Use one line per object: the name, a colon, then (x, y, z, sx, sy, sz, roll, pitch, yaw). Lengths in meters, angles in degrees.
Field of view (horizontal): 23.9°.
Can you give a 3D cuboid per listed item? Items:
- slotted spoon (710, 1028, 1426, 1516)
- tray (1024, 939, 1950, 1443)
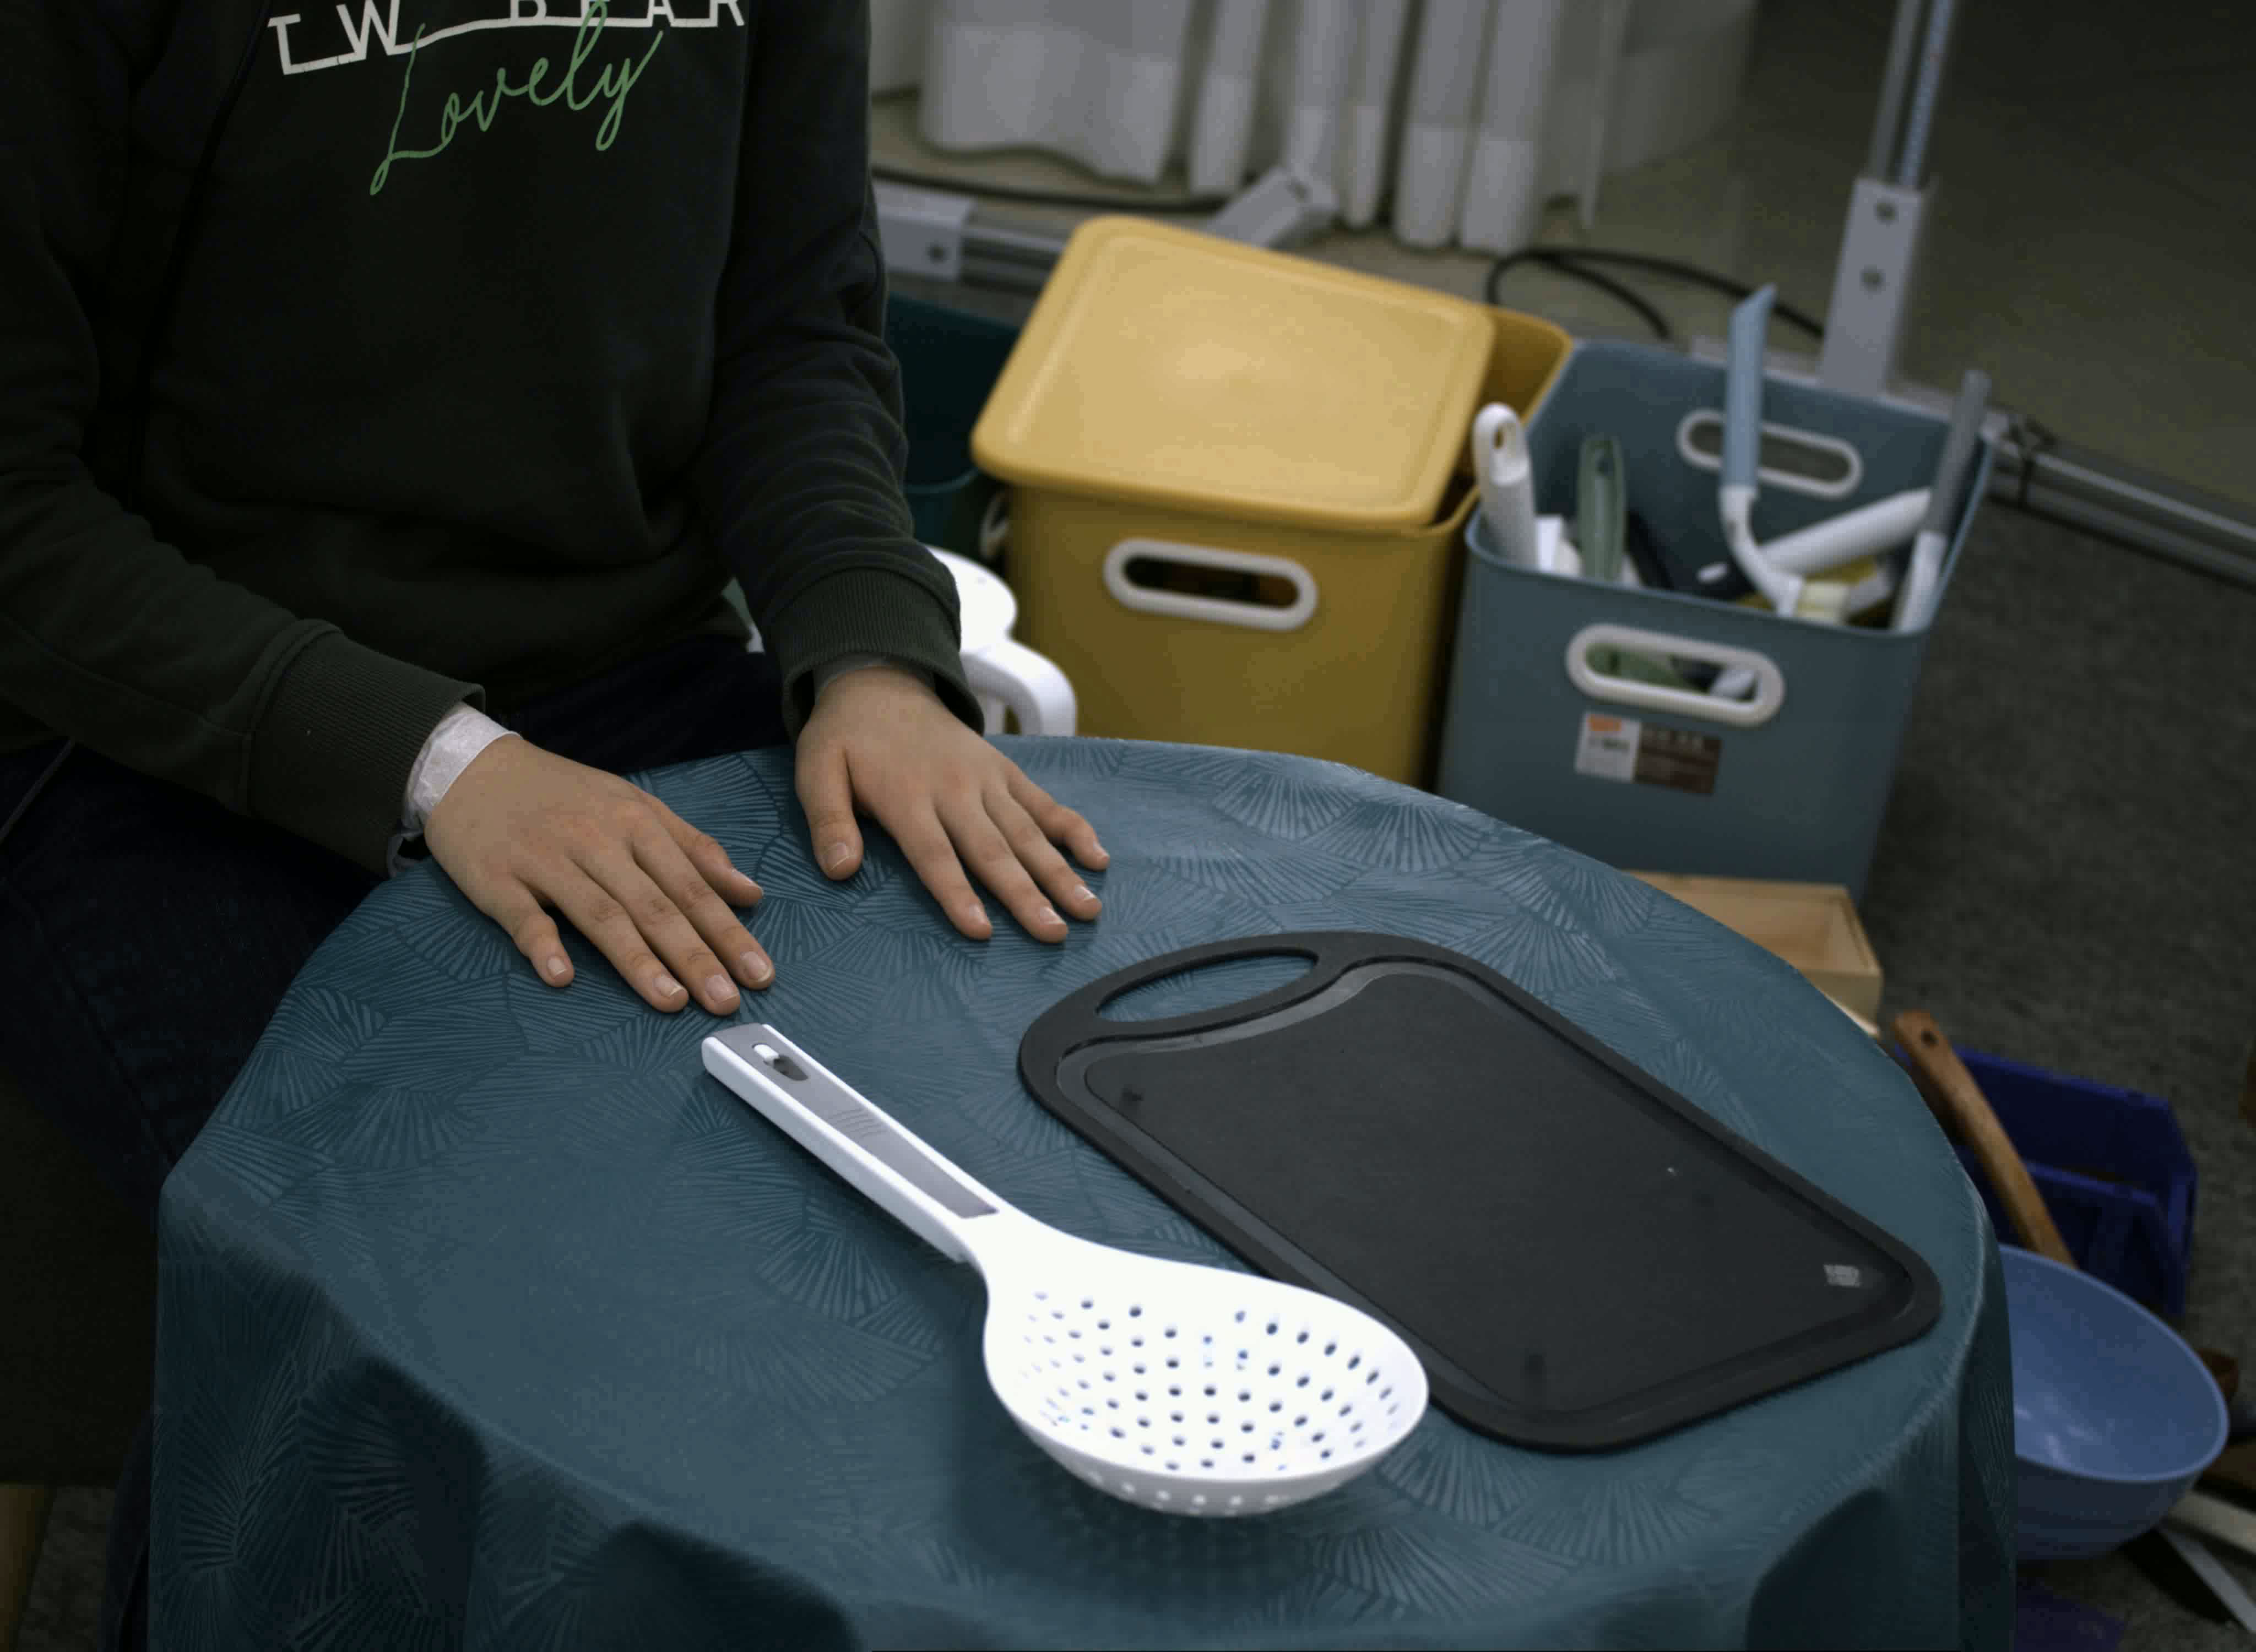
slotted spoon: (-0.038, 0.137, 1.714, 0.135, 0.045, 0.353, -10, 30, -33)
tray: (0.114, 0.116, 1.834, 0.210, 0.010, 0.328, -14, 32, -35)
